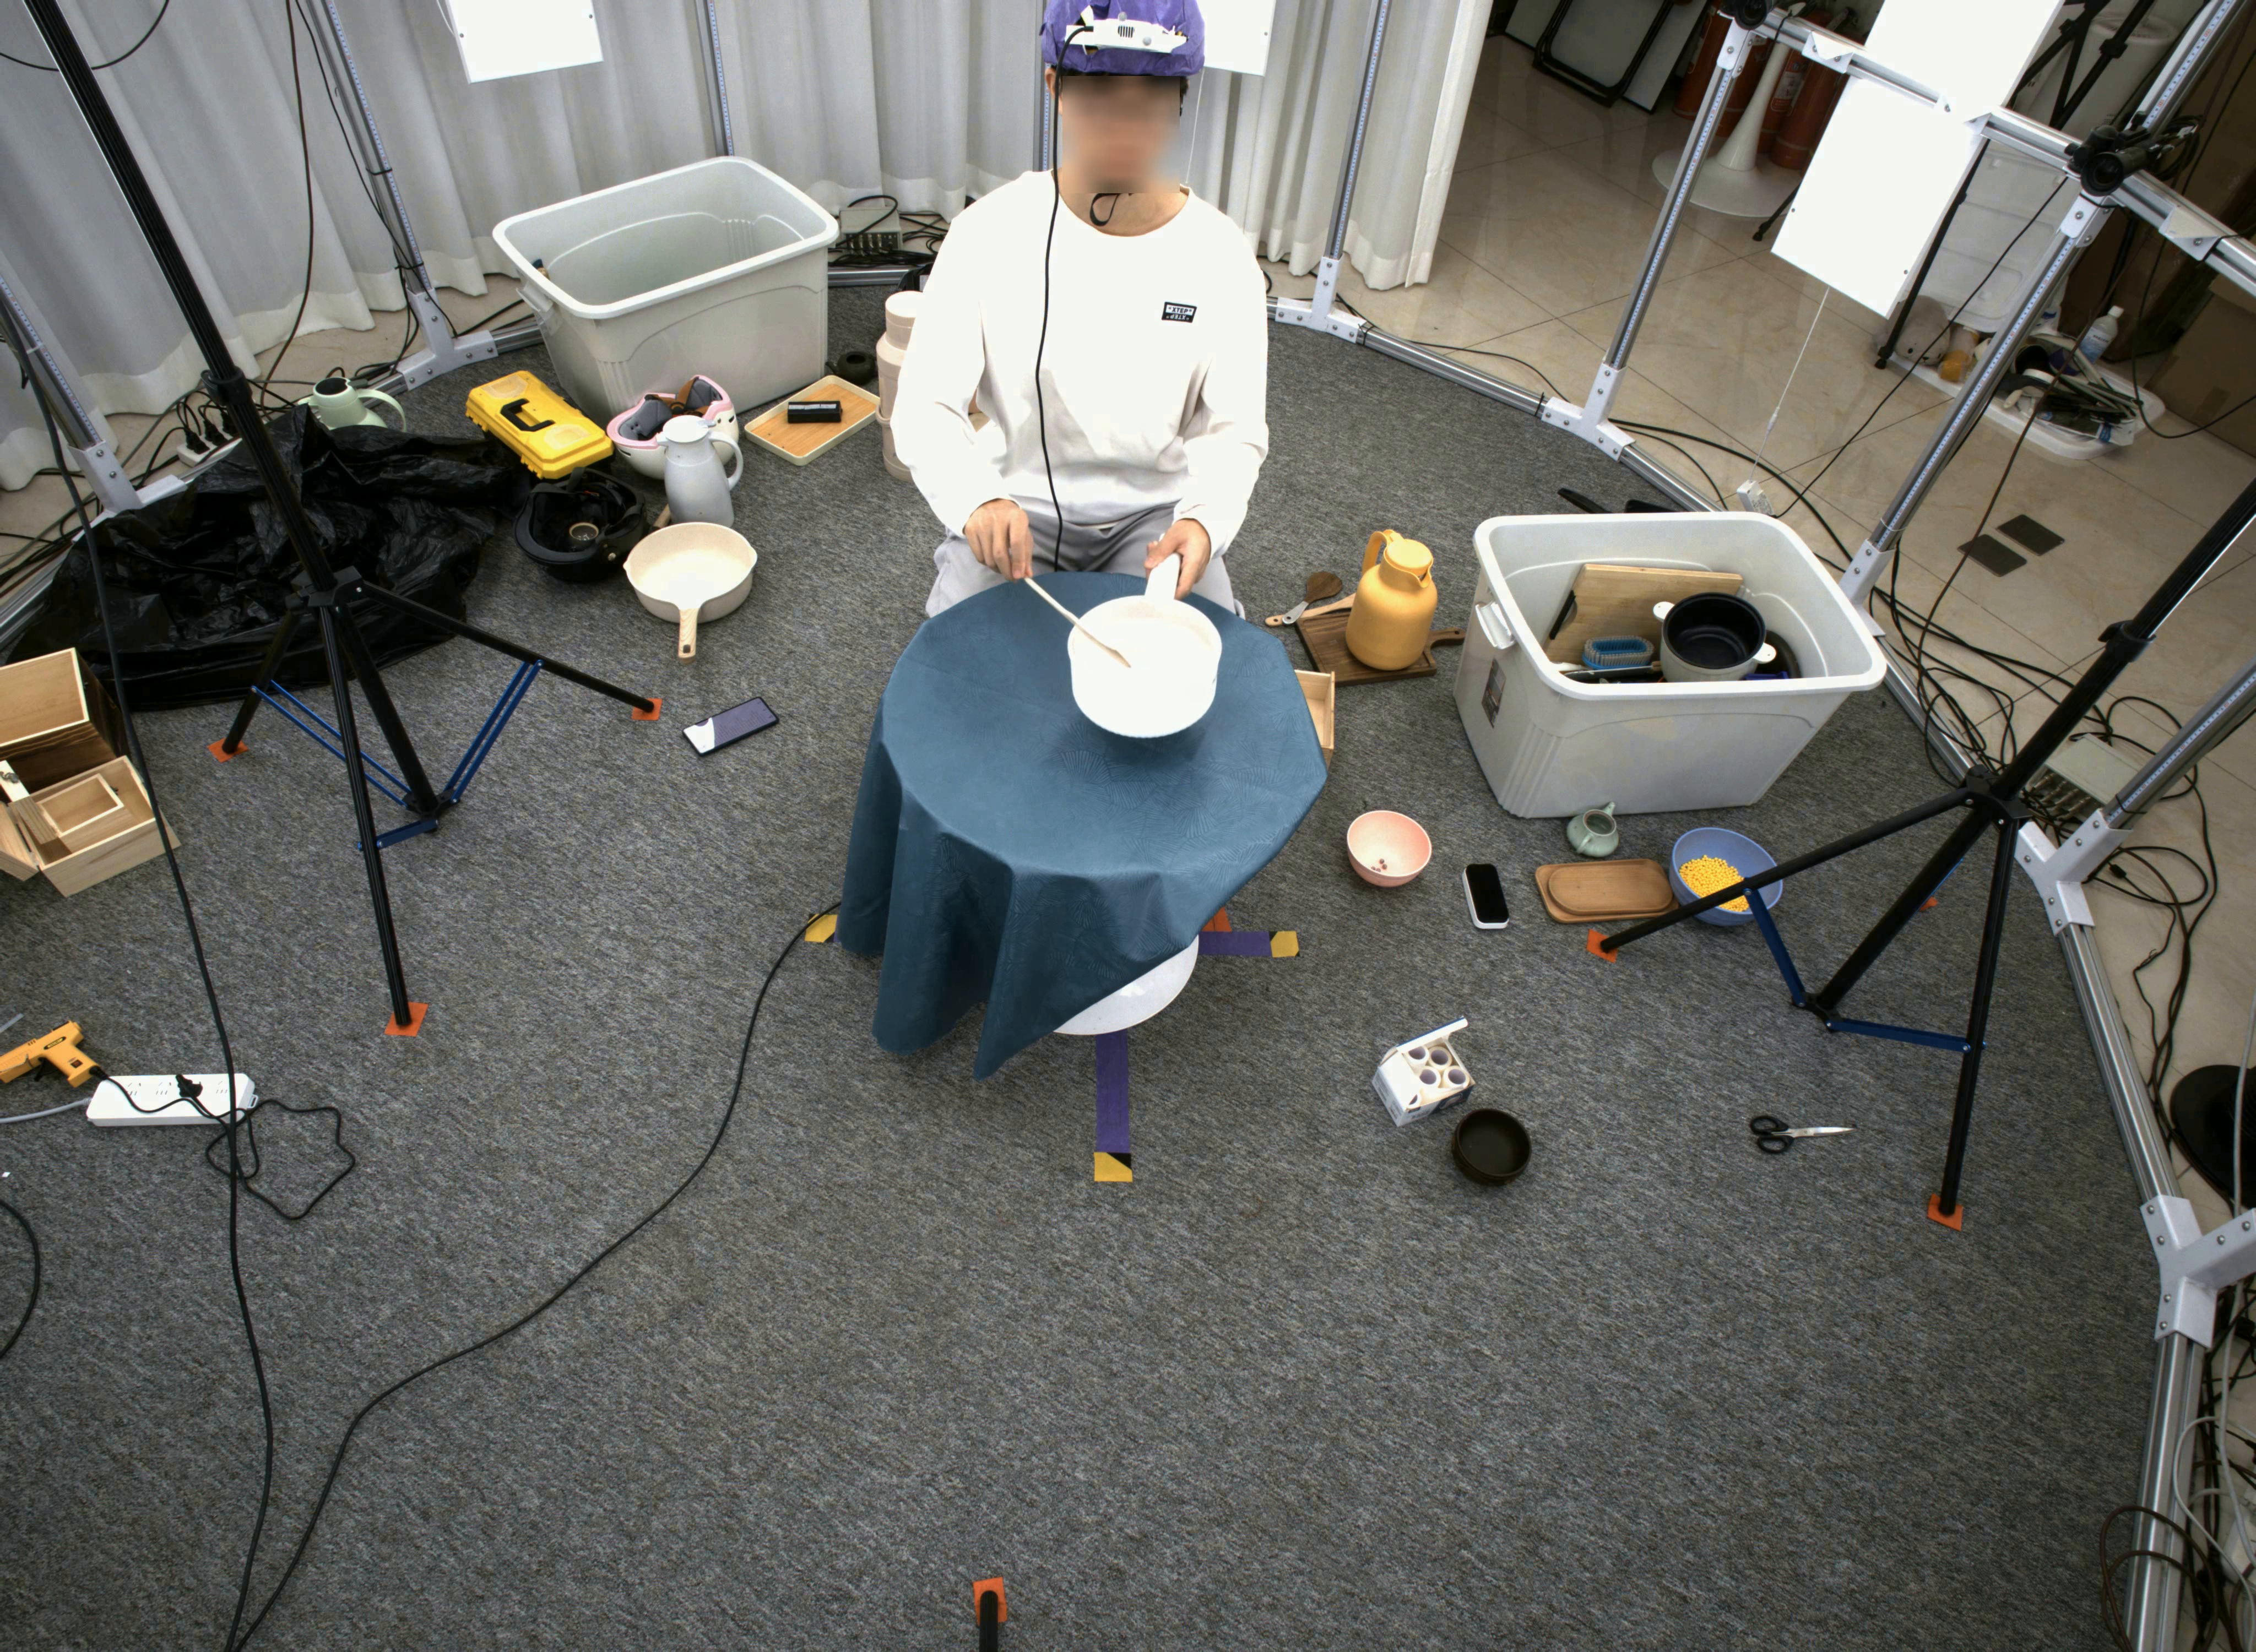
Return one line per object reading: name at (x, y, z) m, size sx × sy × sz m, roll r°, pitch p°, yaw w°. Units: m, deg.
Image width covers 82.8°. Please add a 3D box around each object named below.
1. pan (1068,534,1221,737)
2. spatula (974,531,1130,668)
pan at (0.037, -0.263, 1.769) m, size 0.201 × 0.099 × 0.363 m, roll 7°, pitch 46°, yaw 8°
spatula at (-0.107, -0.302, 1.682) m, size 0.010 × 0.071 × 0.297 m, roll -48°, pitch 65°, yaw 3°
